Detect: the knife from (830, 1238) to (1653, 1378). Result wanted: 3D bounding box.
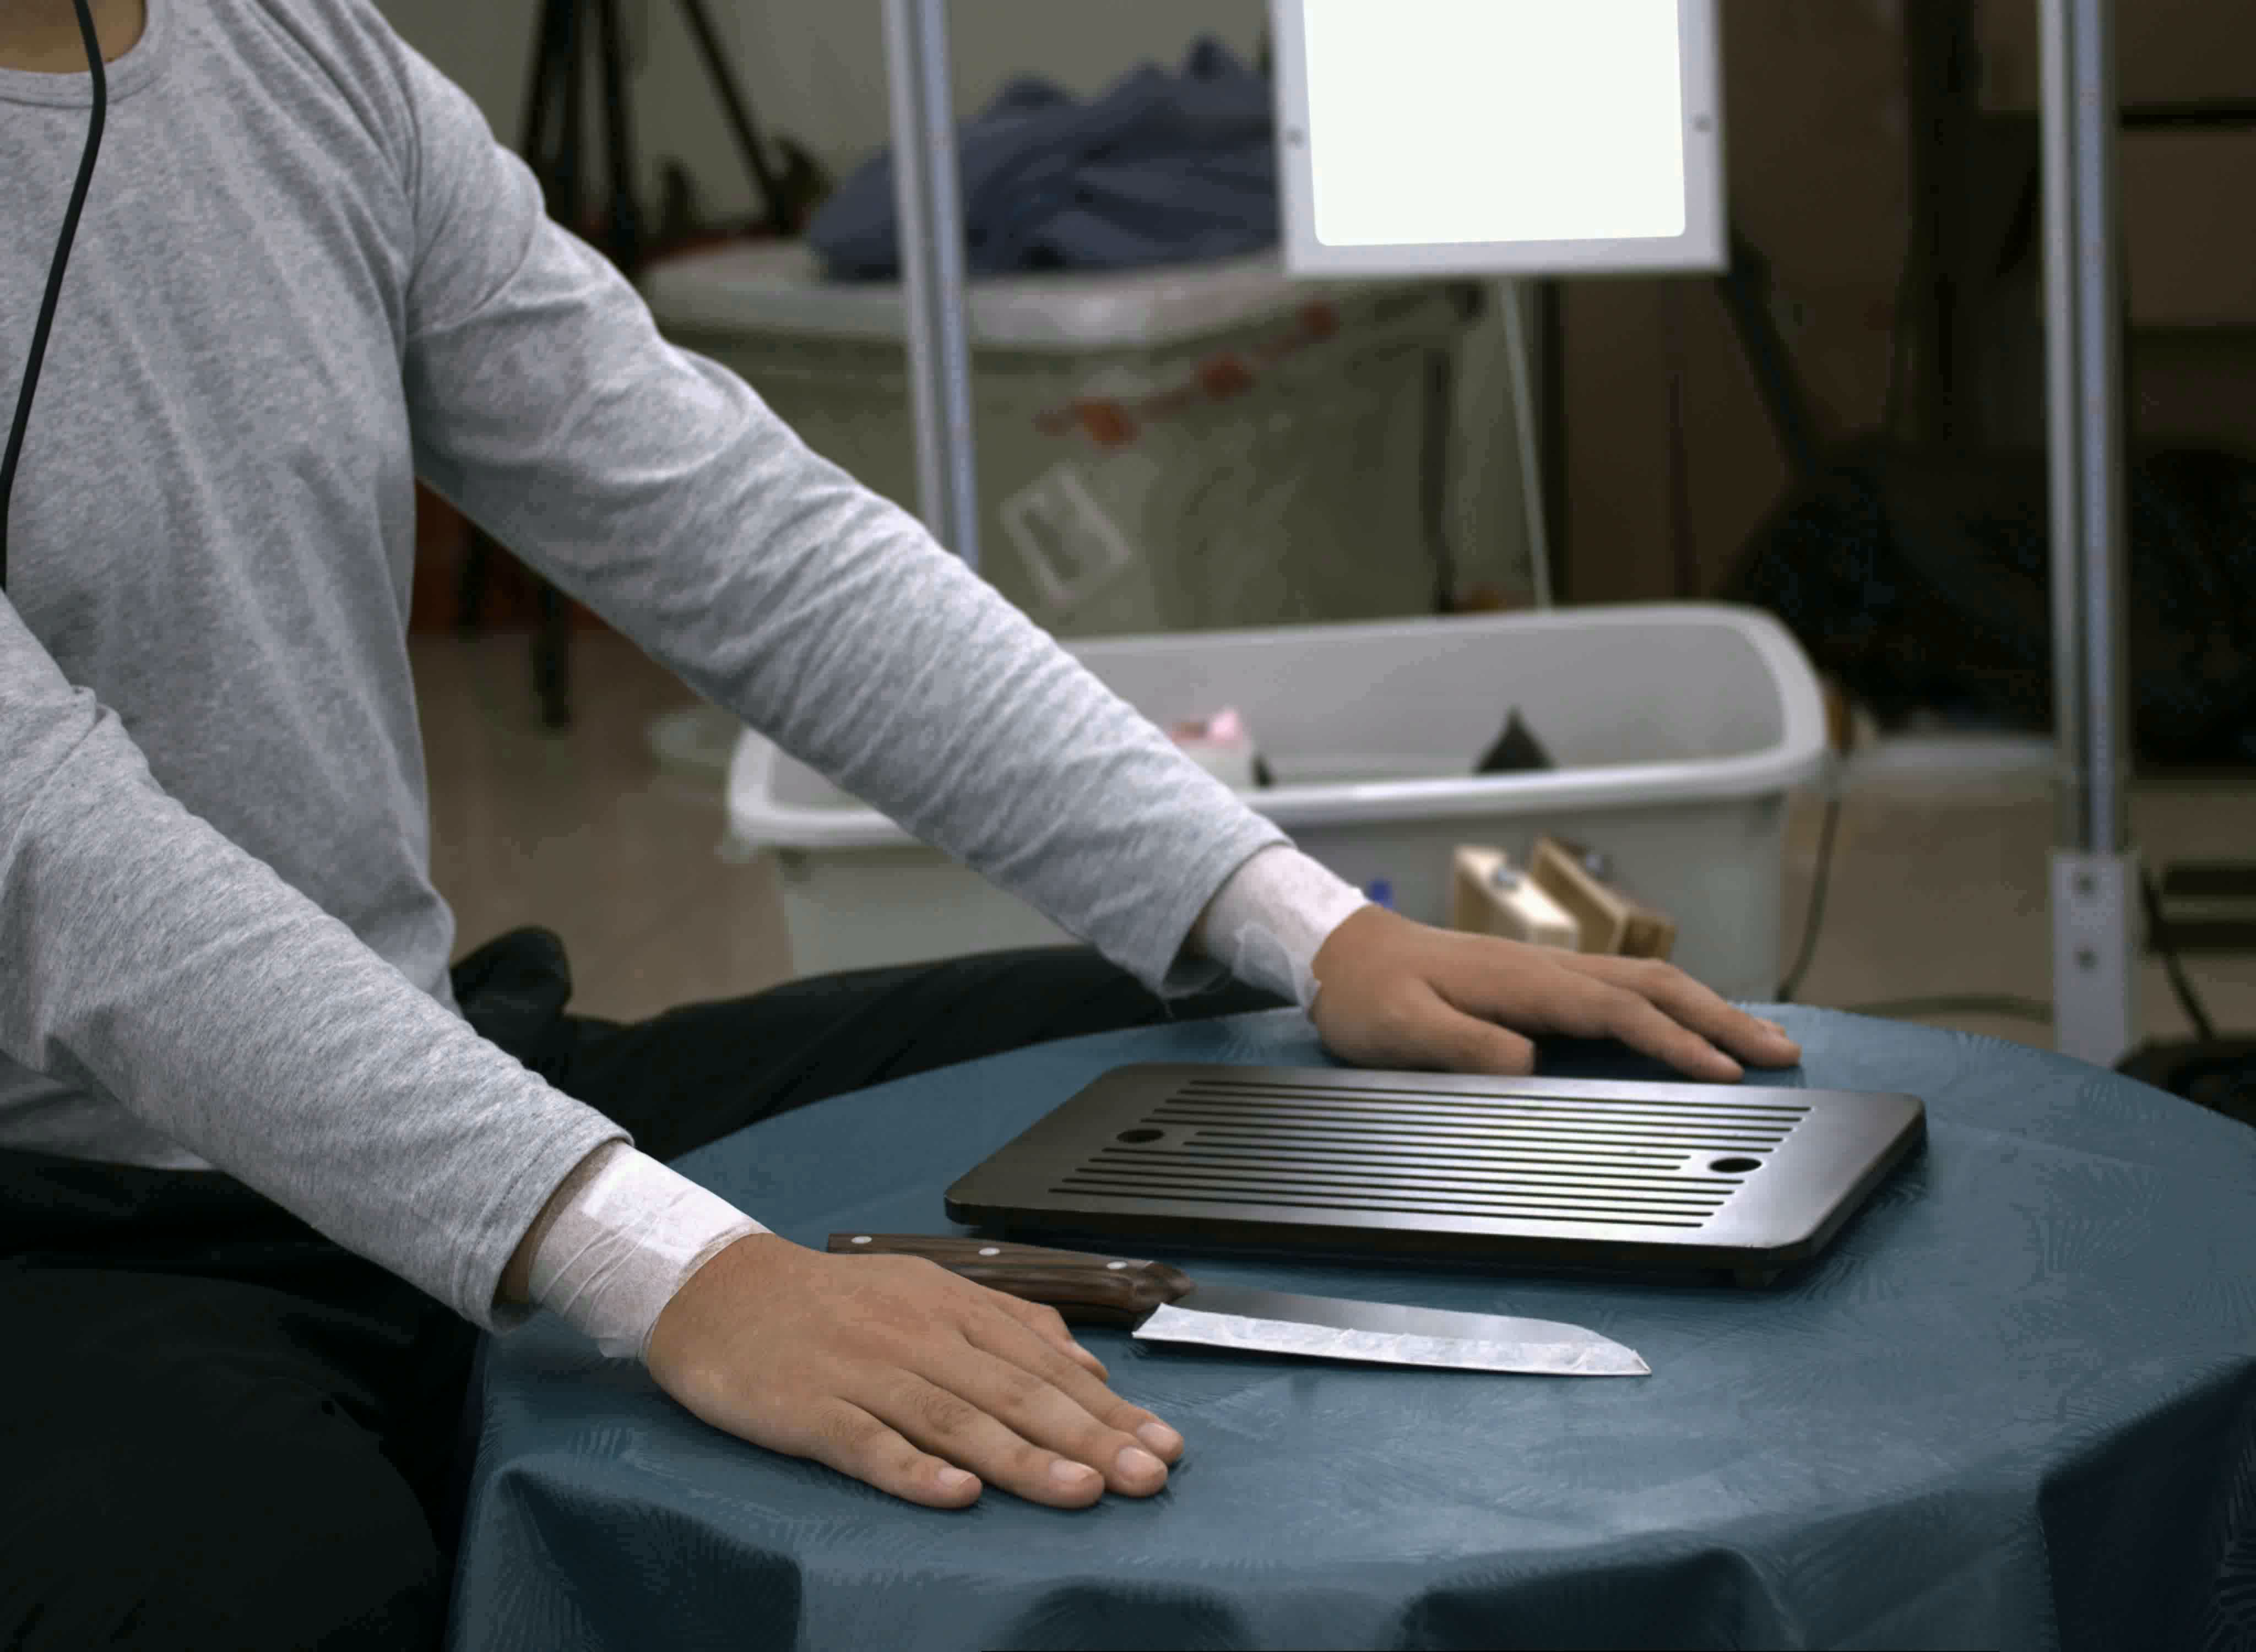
[{"bbox_3d":[0.031,0.155,1.745,0.294,0.020,0.049,4,21,27],"label":"knife"}]

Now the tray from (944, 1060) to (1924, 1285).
[{"bbox_3d":[0.106,0.116,1.870,0.311,0.019,0.166,1,15,26],"label":"tray"}]
